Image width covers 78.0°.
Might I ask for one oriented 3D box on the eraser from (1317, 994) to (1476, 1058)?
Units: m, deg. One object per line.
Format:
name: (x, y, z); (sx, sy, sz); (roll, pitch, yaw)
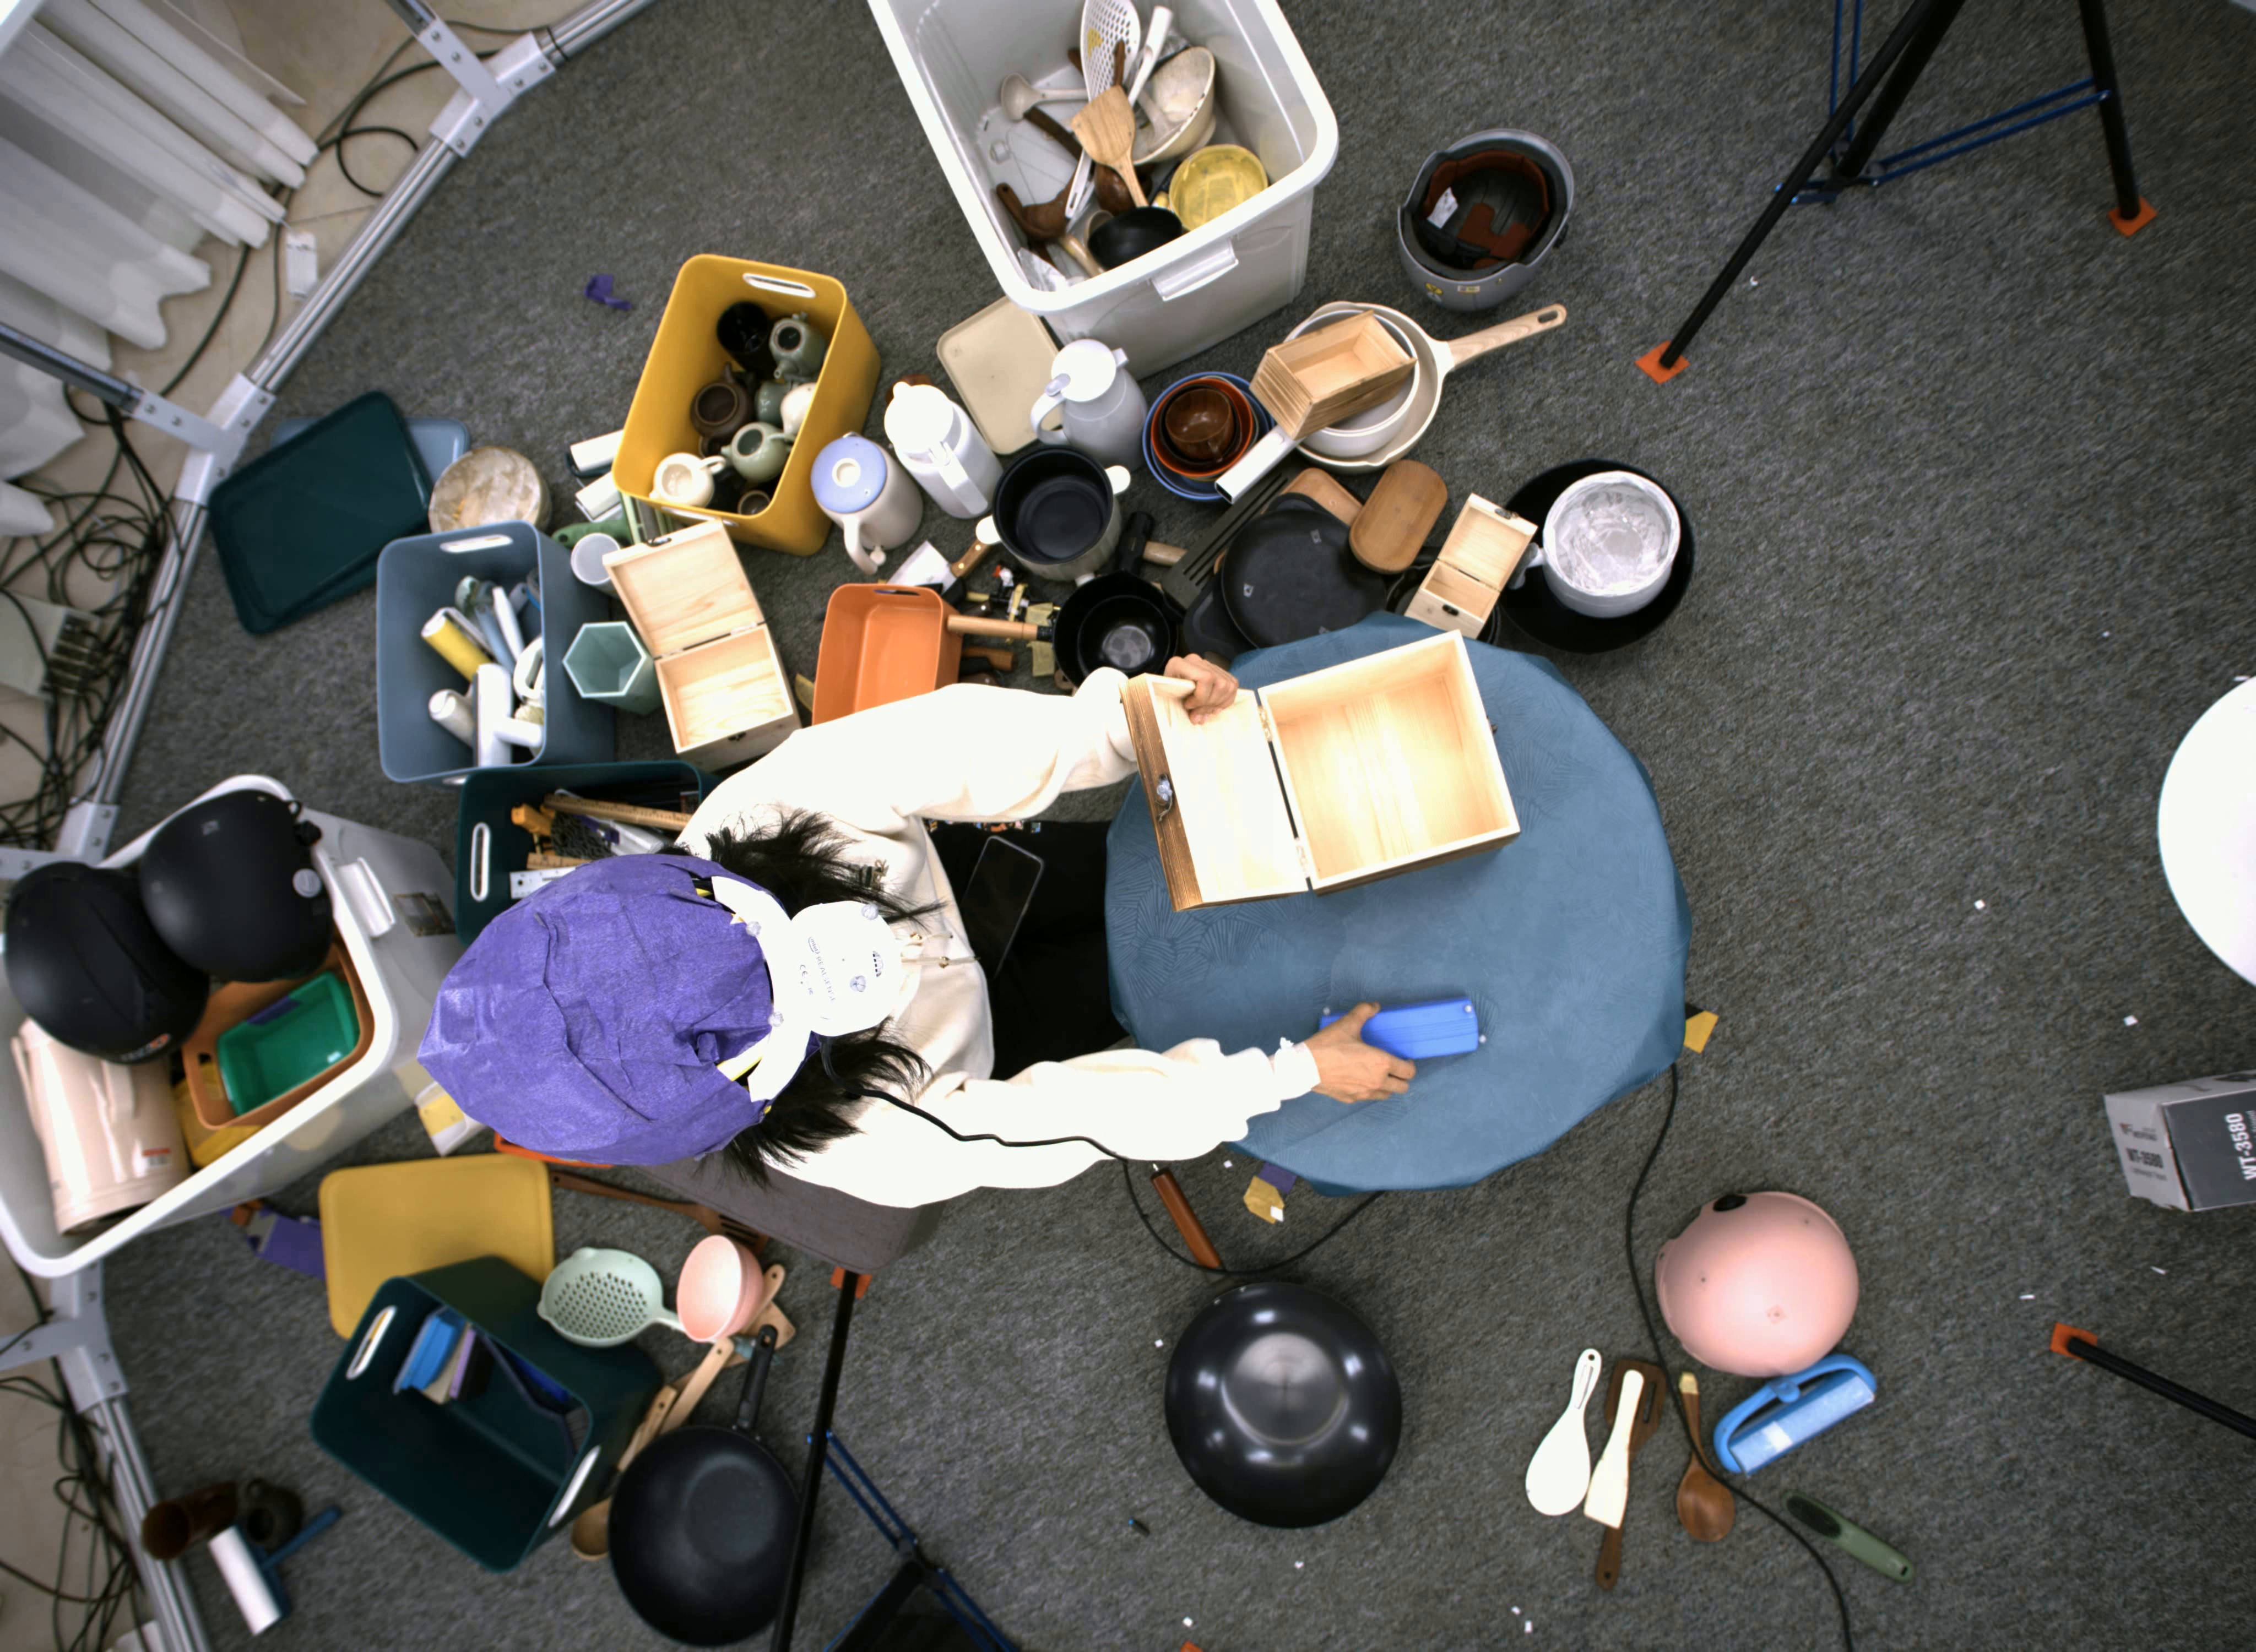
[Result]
eraser: (0.276, 0.205, 1.419); (0.163, 0.047, 0.054); (-6, 96, 7)

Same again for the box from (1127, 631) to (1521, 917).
box: (0.193, -0.049, 1.301); (0.324, 0.375, 0.207); (-16, 83, 10)
